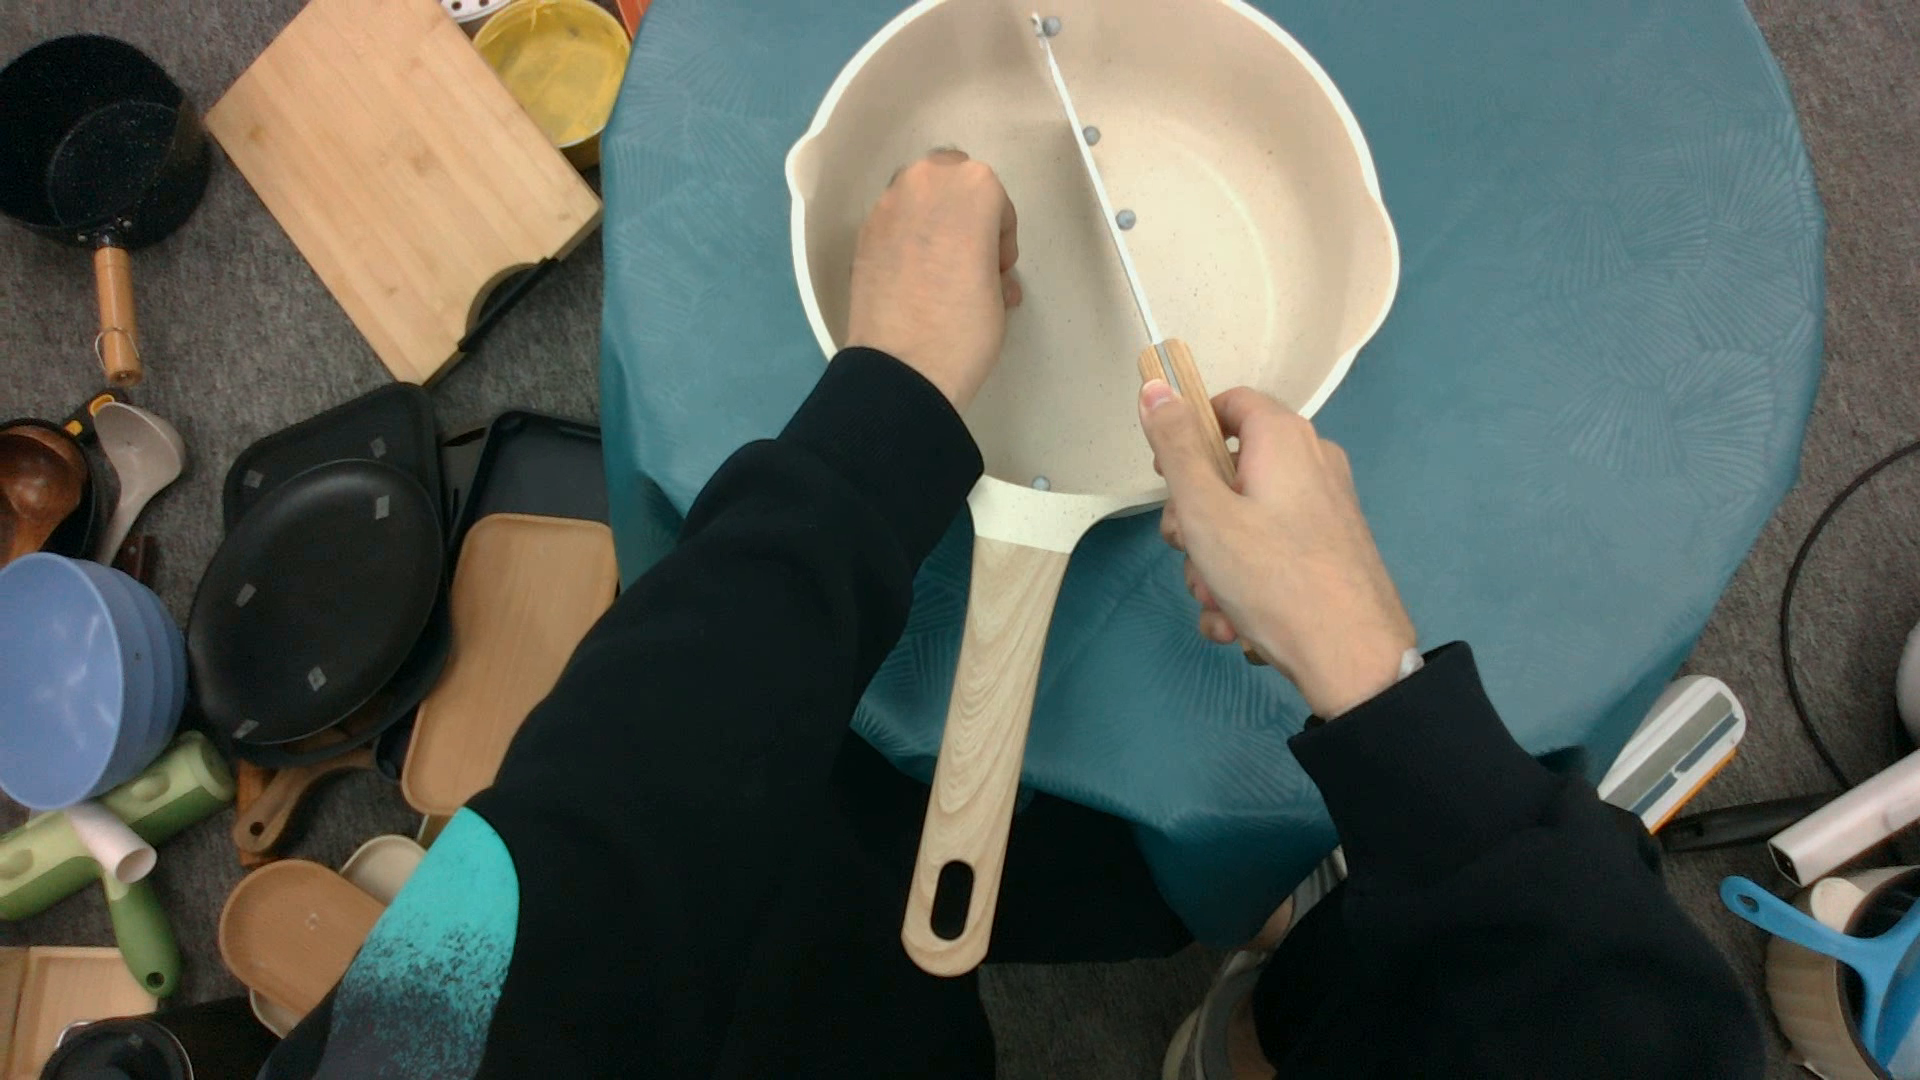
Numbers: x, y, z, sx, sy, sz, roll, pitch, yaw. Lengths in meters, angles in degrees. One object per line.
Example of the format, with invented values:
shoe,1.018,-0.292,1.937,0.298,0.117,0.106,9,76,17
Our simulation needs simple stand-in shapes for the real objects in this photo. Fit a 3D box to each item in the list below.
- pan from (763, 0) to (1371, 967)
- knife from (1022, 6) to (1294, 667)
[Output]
pan,0.028,-0.044,0.595,0.263,0.102,0.436,10,76,-1
knife,0.074,-0.092,0.571,0.022,0.113,0.316,-20,63,8
